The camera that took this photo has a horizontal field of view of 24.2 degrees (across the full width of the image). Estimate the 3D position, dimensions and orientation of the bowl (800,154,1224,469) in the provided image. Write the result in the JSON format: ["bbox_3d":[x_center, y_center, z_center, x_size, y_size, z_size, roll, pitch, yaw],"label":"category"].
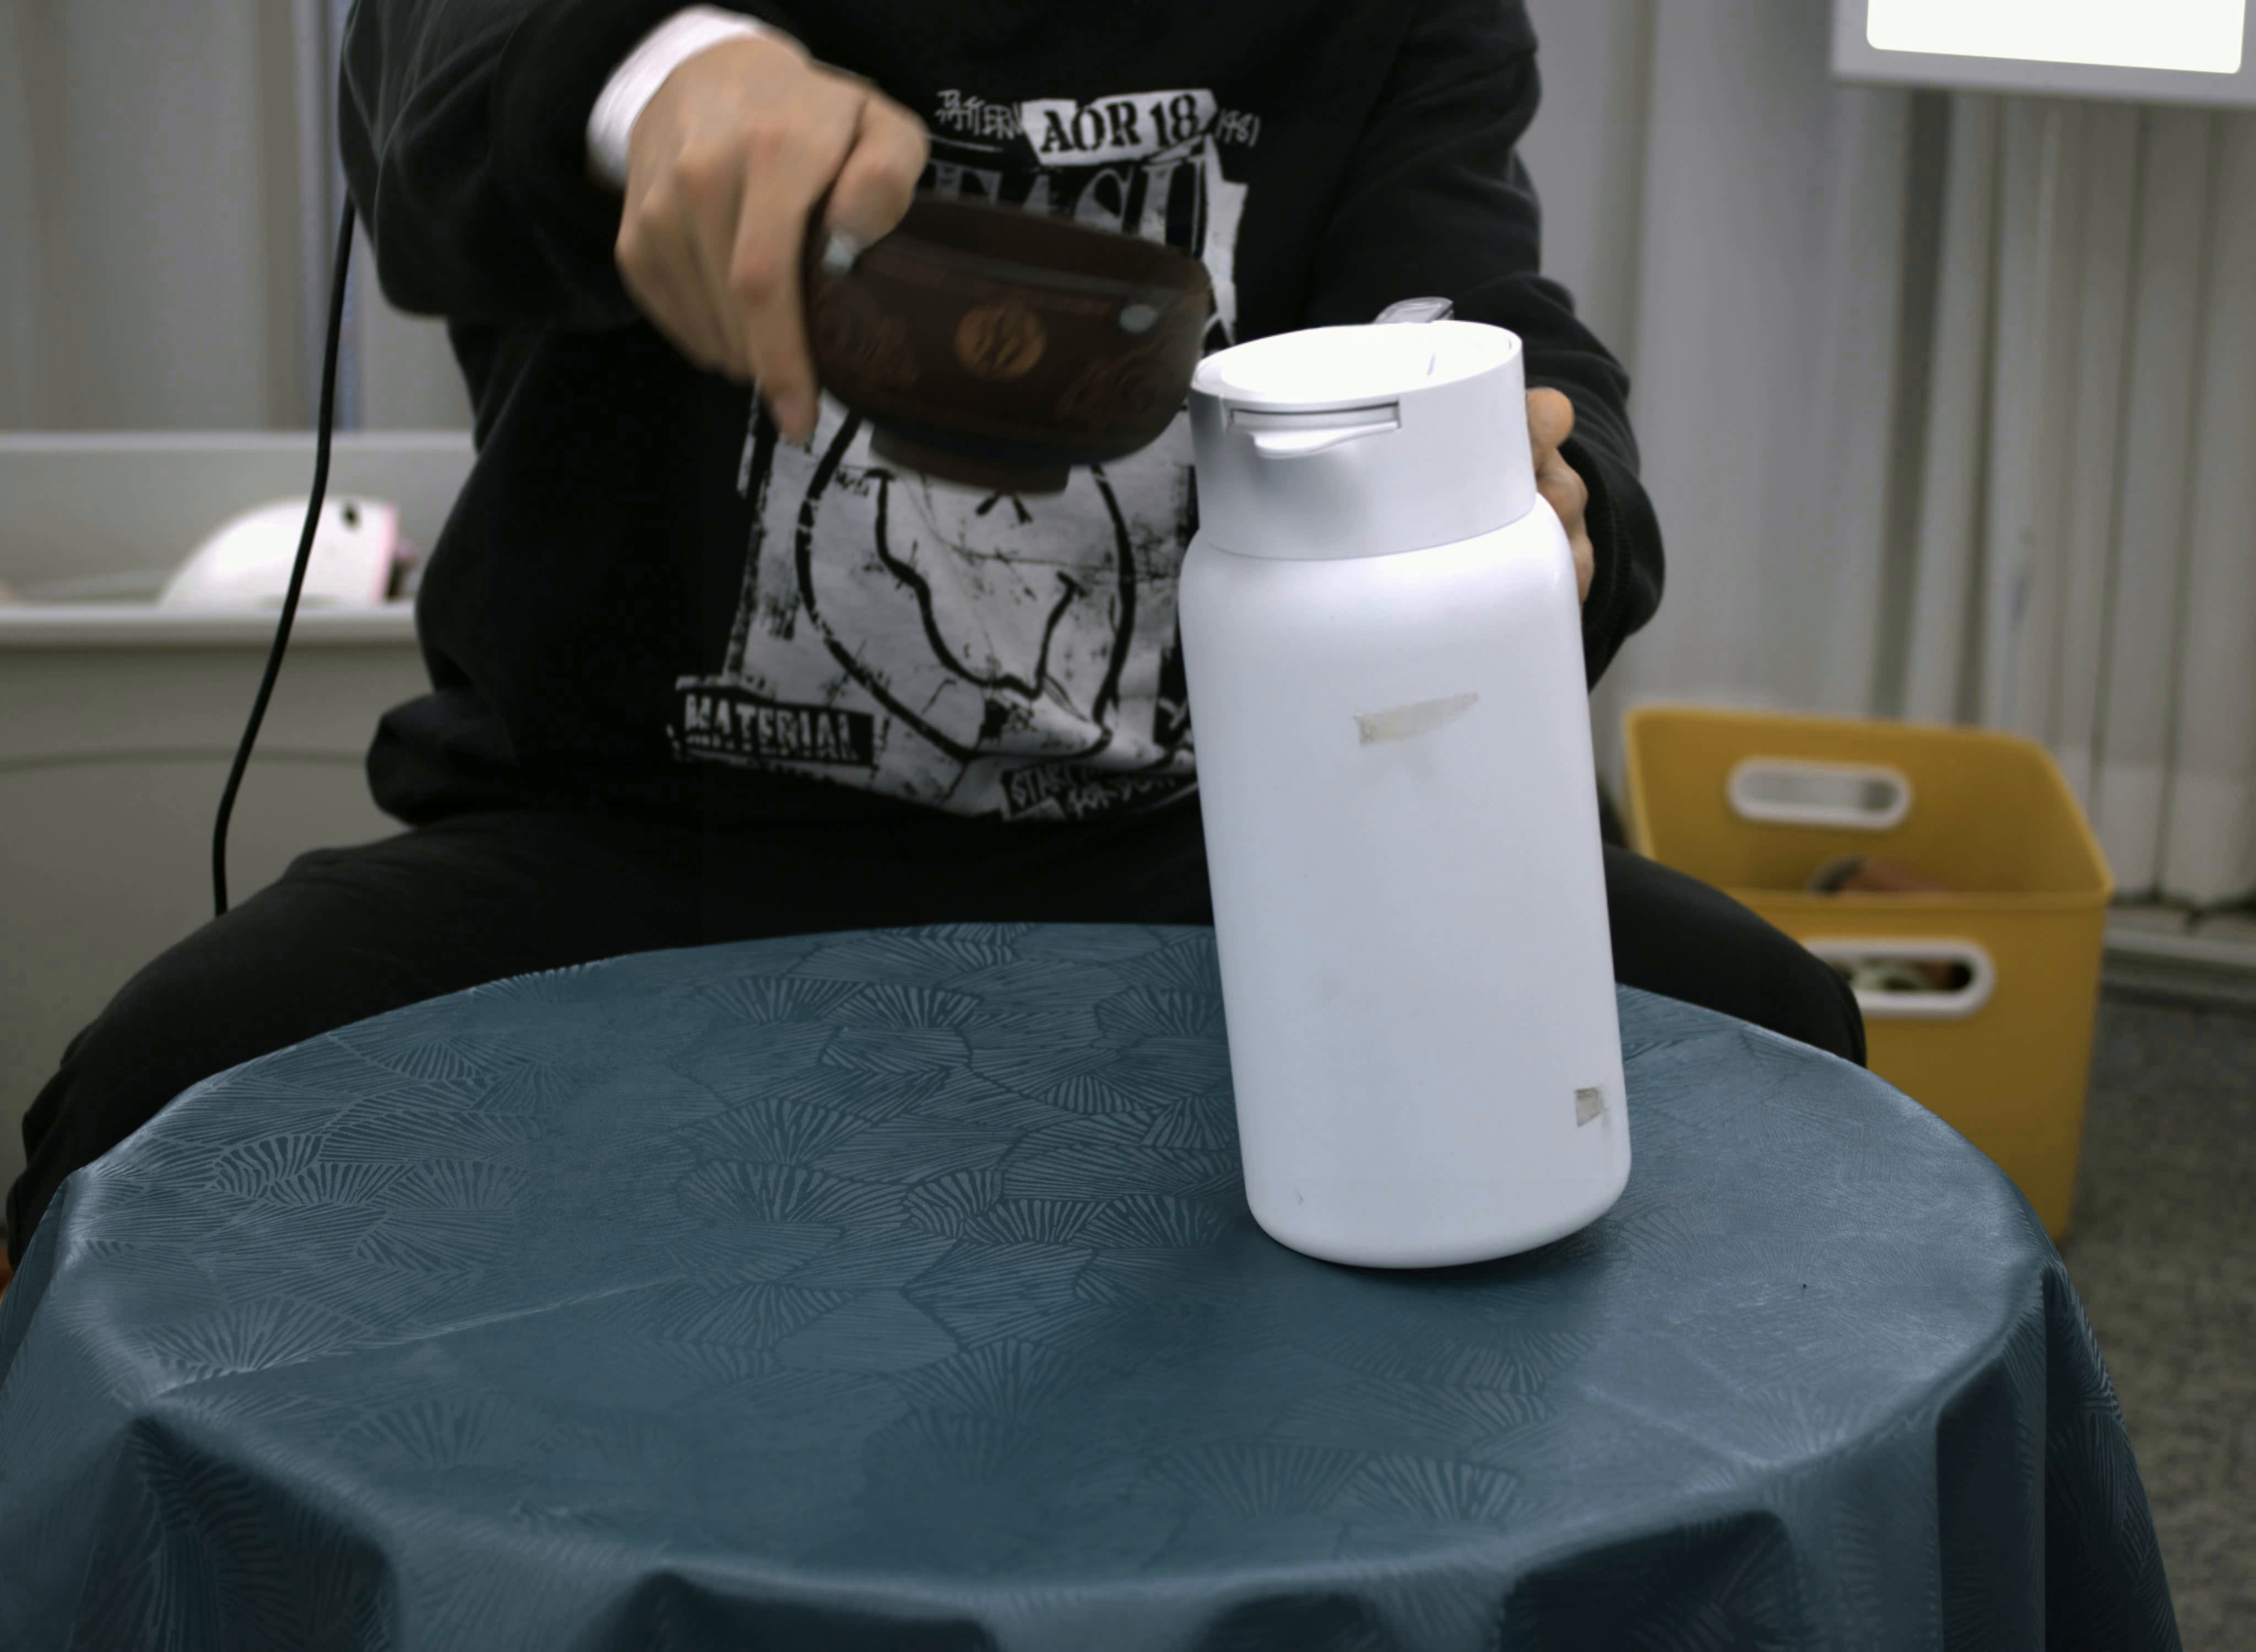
[{"bbox_3d":[-0.036,-0.141,1.479,0.118,0.070,0.117,13,14,-3],"label":"bowl"}]

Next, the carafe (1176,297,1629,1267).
[{"bbox_3d":[0.083,-0.017,1.570,0.123,0.271,0.172,-3,18,20],"label":"carafe"}]
